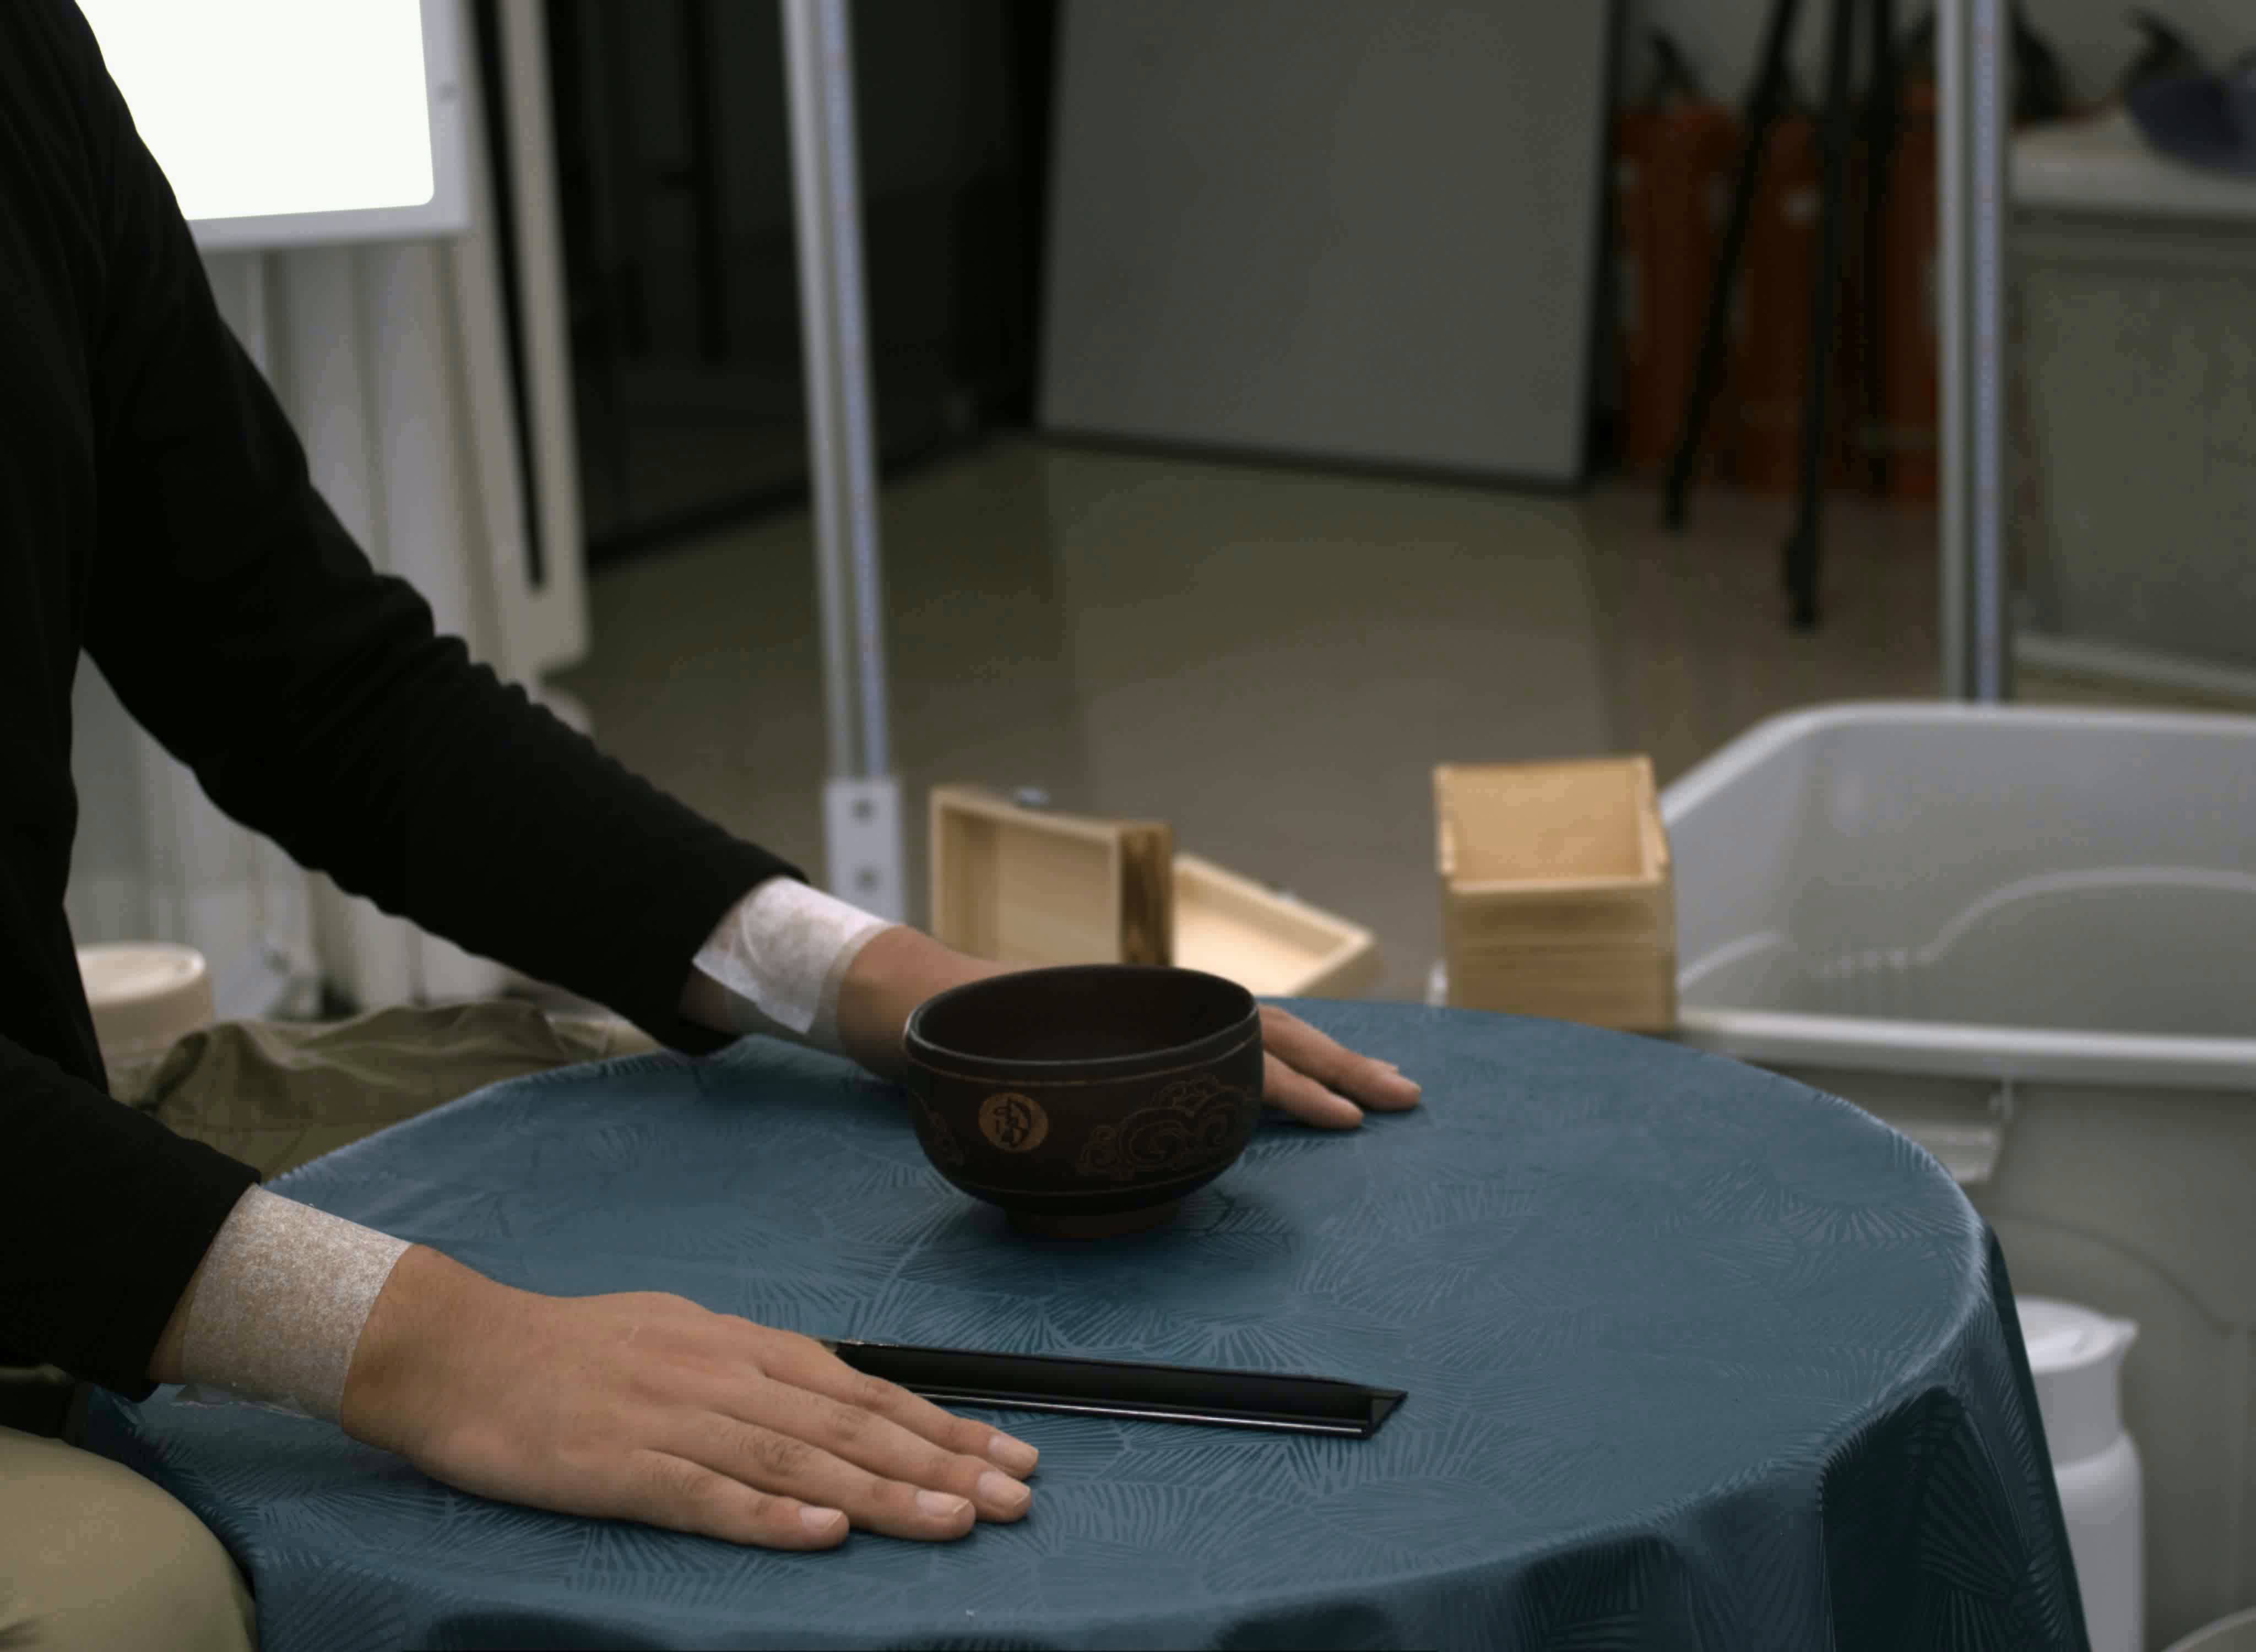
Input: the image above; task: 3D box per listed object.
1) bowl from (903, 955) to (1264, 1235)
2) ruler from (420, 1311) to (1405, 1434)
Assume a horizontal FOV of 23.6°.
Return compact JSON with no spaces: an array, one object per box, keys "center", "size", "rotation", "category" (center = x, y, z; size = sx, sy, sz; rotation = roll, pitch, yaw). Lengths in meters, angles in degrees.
[{"center":[-0.013,0.090,1.743],"size":[0.116,0.070,0.118],"rotation":[-3,14,0],"category":"bowl"},{"center":[-0.067,0.158,1.608],"size":[0.312,0.017,0.039],"rotation":[2,10,24],"category":"ruler"}]
